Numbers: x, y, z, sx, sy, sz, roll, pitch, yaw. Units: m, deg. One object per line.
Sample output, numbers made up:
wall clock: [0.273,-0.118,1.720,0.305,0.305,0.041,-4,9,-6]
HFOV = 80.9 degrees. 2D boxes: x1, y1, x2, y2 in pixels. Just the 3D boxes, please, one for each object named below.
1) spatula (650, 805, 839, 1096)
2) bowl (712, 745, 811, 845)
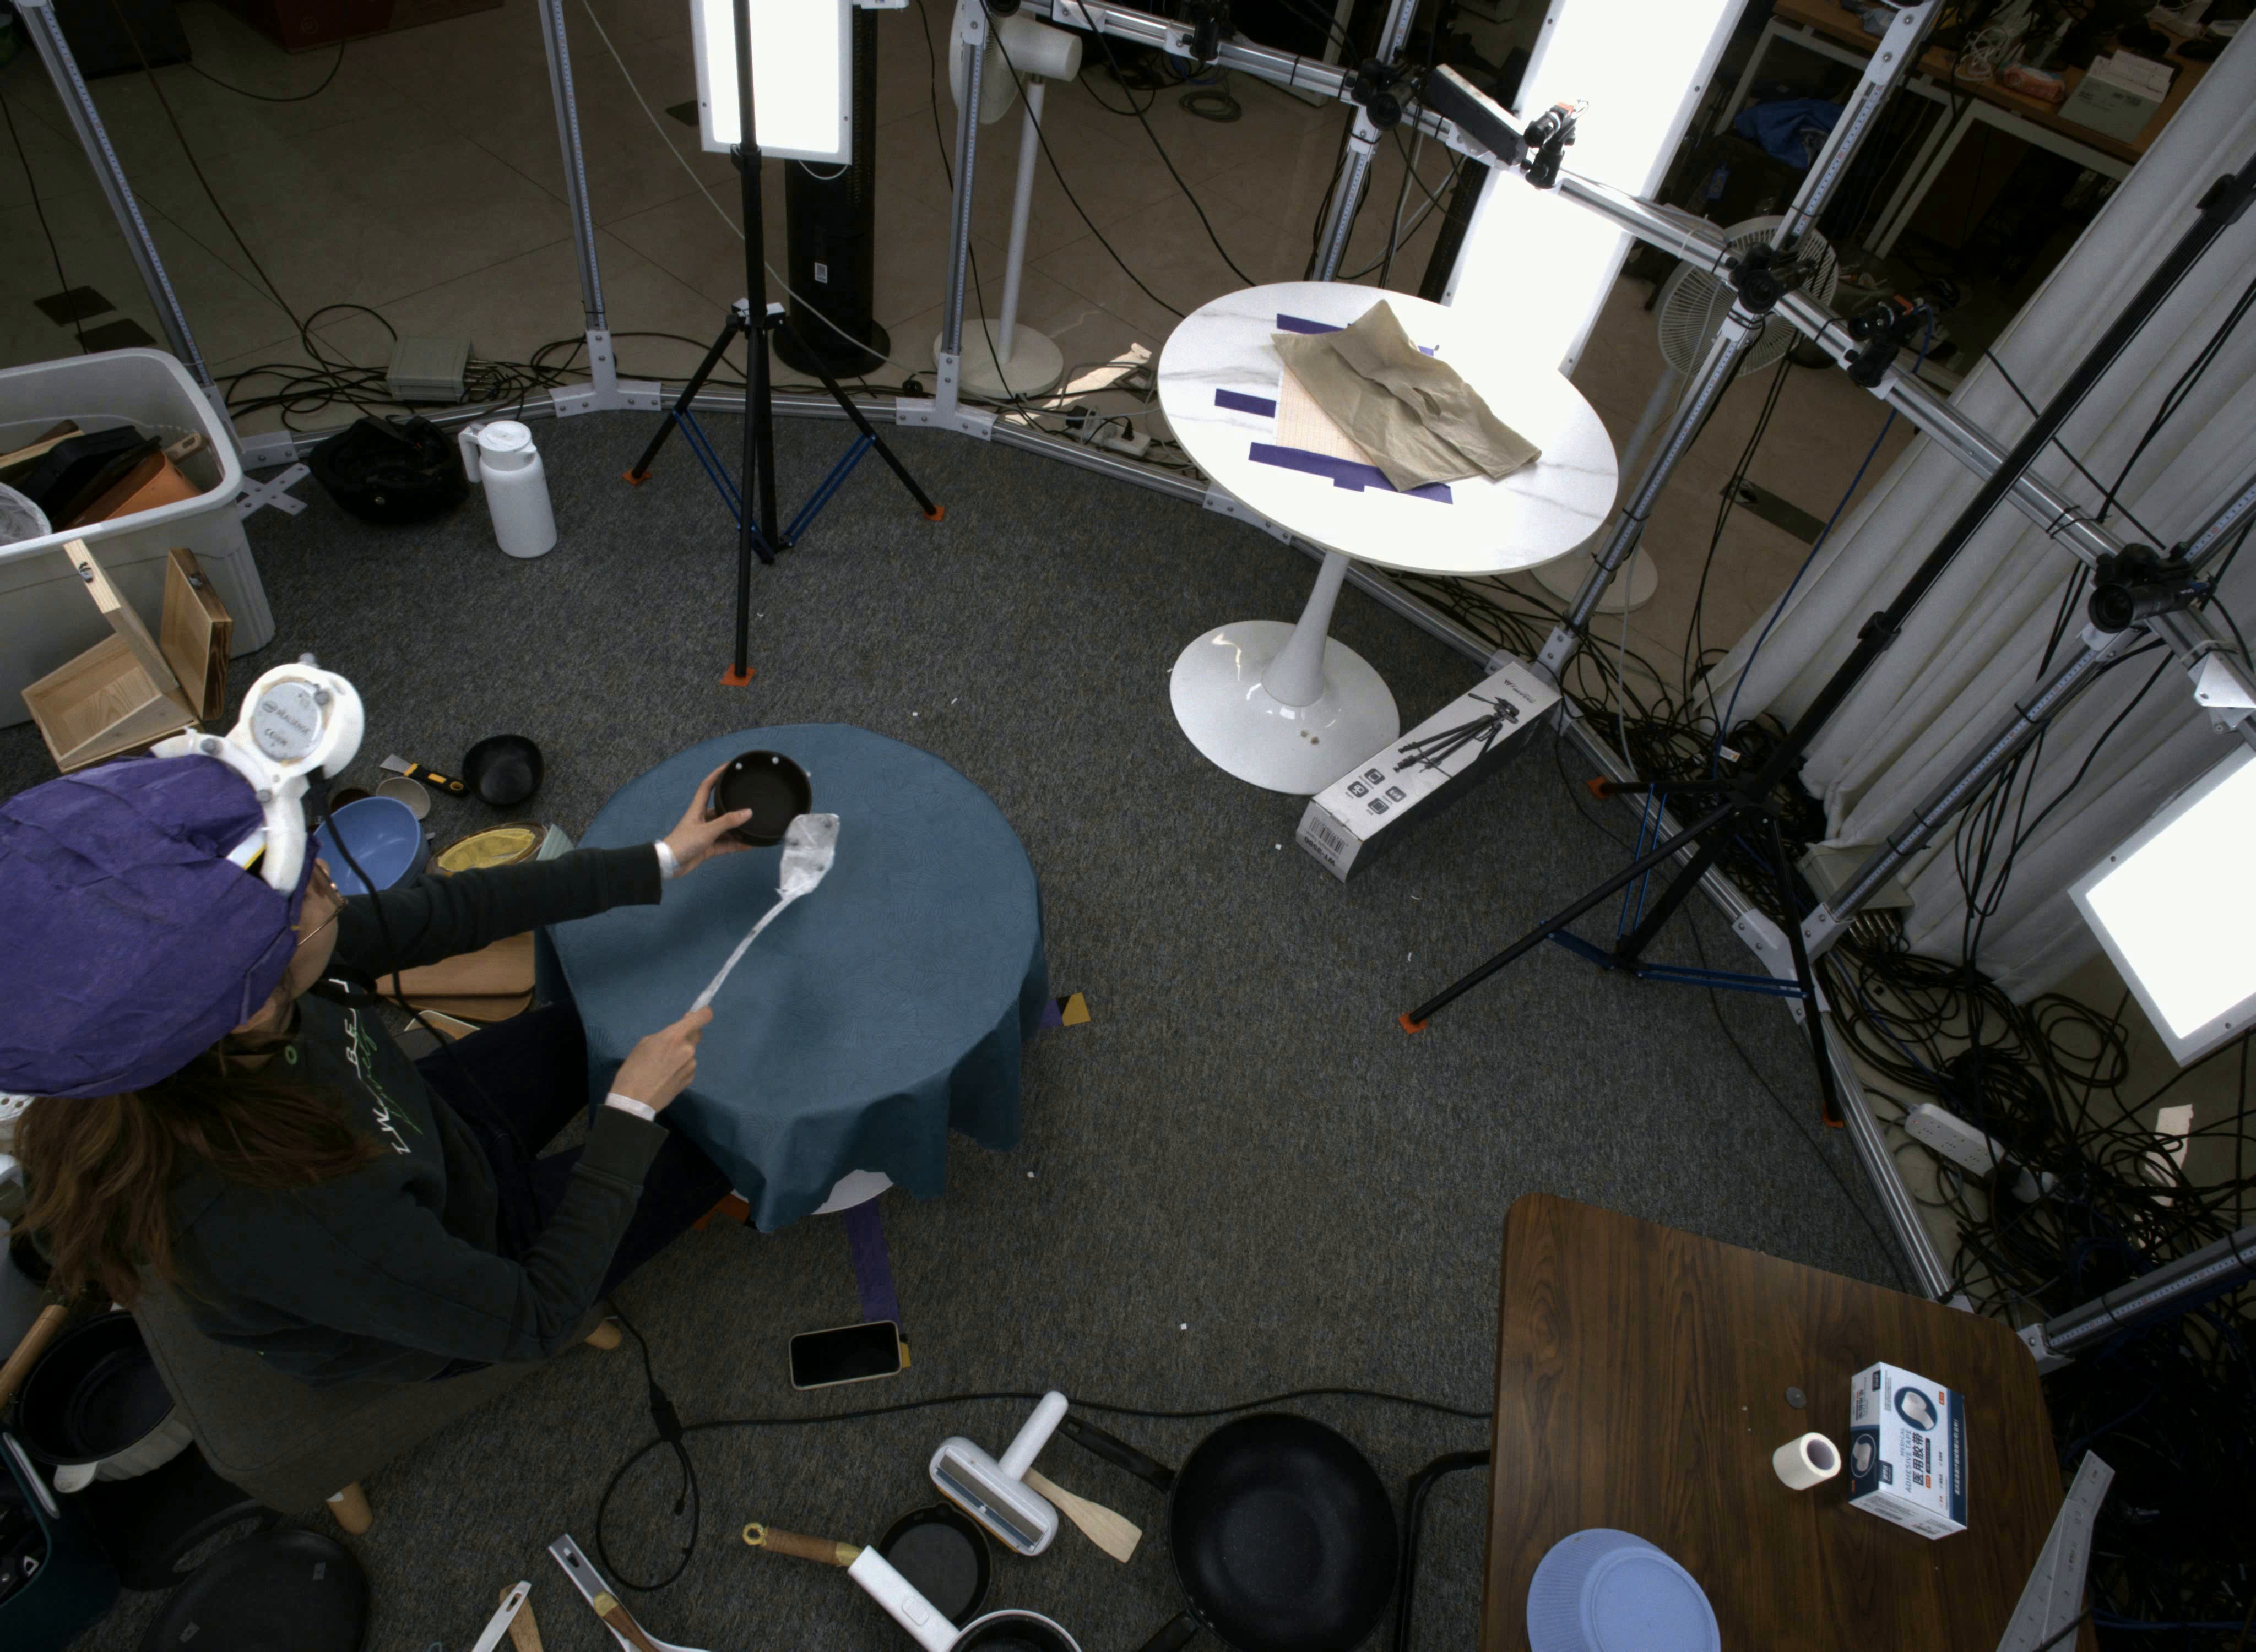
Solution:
spatula: [-0.425,0.128,1.412,0.095,0.046,0.363,5,53,41]
bowl: [-0.453,-0.033,1.594,0.119,0.069,0.117,9,69,-21]
